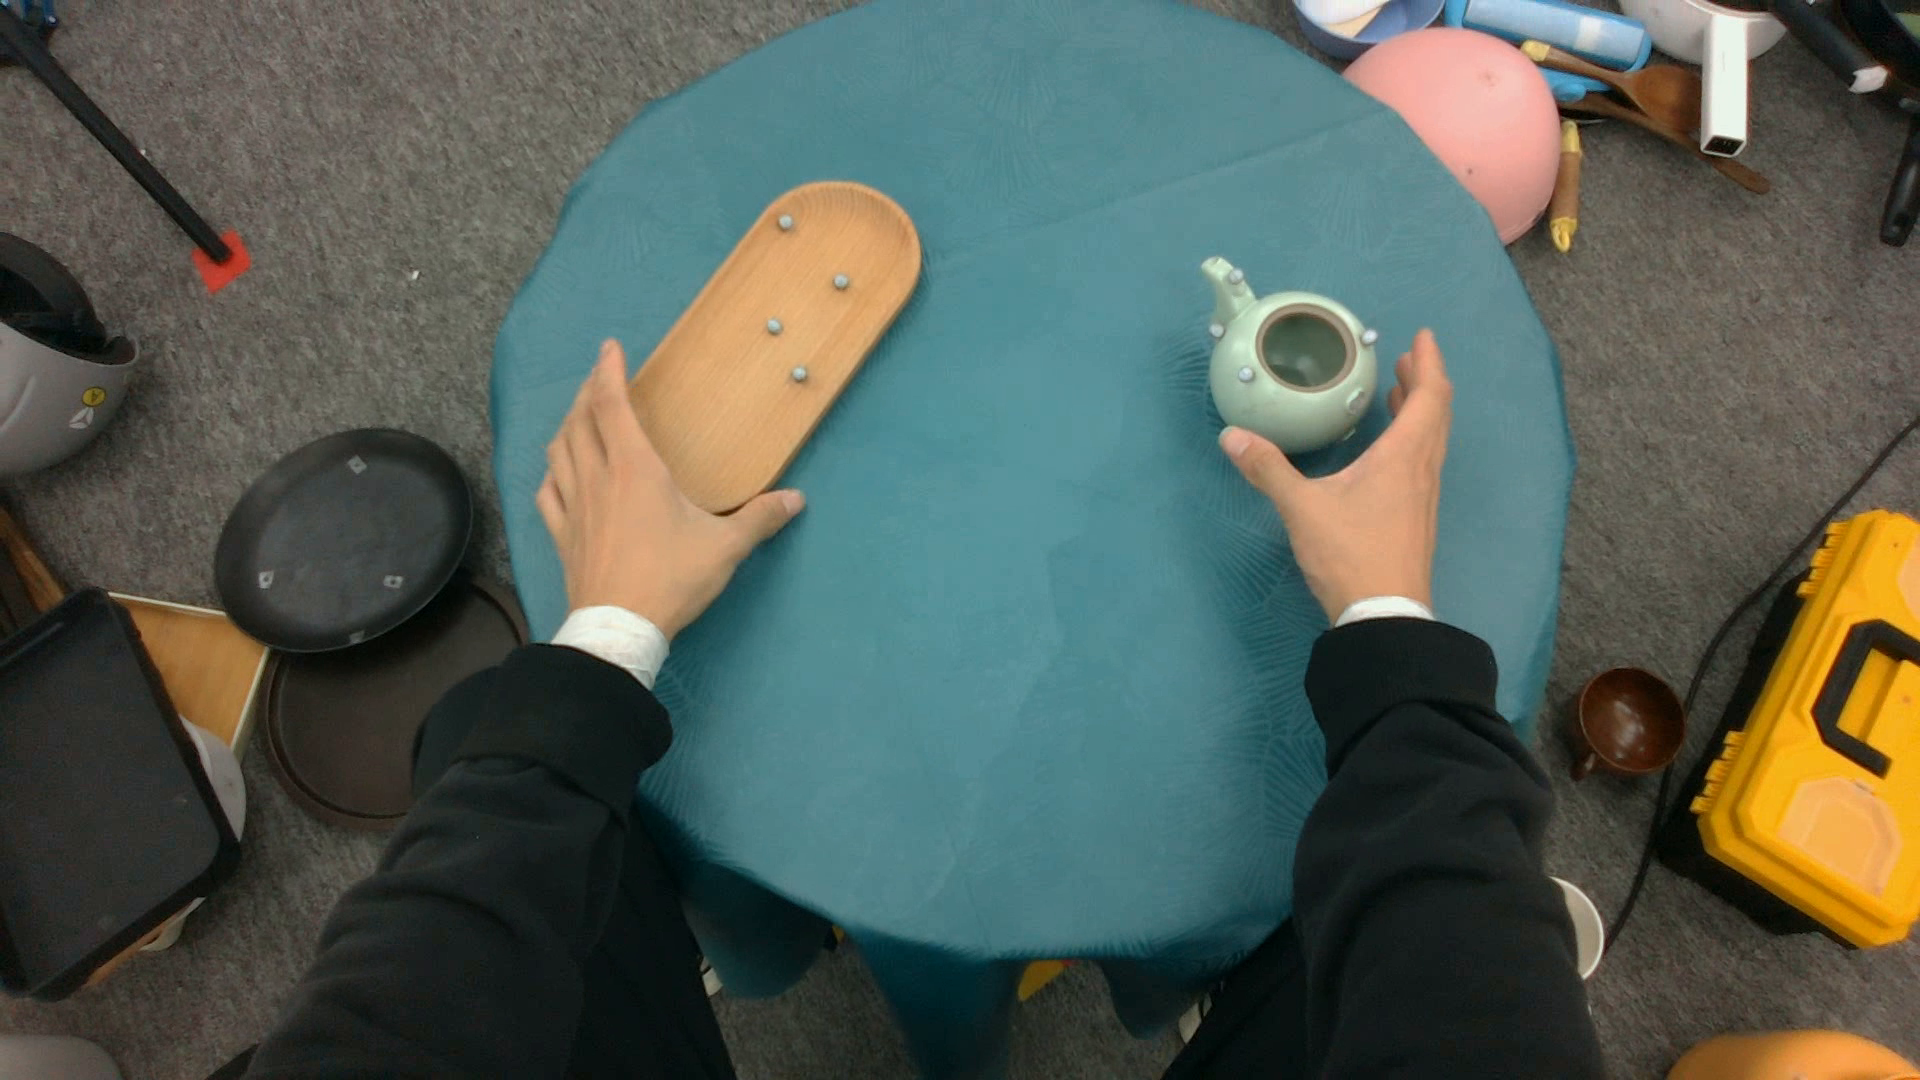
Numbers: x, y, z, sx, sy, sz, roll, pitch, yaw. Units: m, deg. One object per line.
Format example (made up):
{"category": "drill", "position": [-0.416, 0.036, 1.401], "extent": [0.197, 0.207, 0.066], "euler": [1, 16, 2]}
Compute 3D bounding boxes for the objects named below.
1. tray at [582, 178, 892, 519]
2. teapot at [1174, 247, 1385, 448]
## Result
{"category": "tray", "position": [-0.123, -0.112, 0.779], "extent": [0.101, 0.020, 0.232], "euler": [29, 73, 11]}
{"category": "teapot", "position": [0.167, -0.097, 0.751], "extent": [0.088, 0.074, 0.144], "euler": [-41, 74, -15]}
